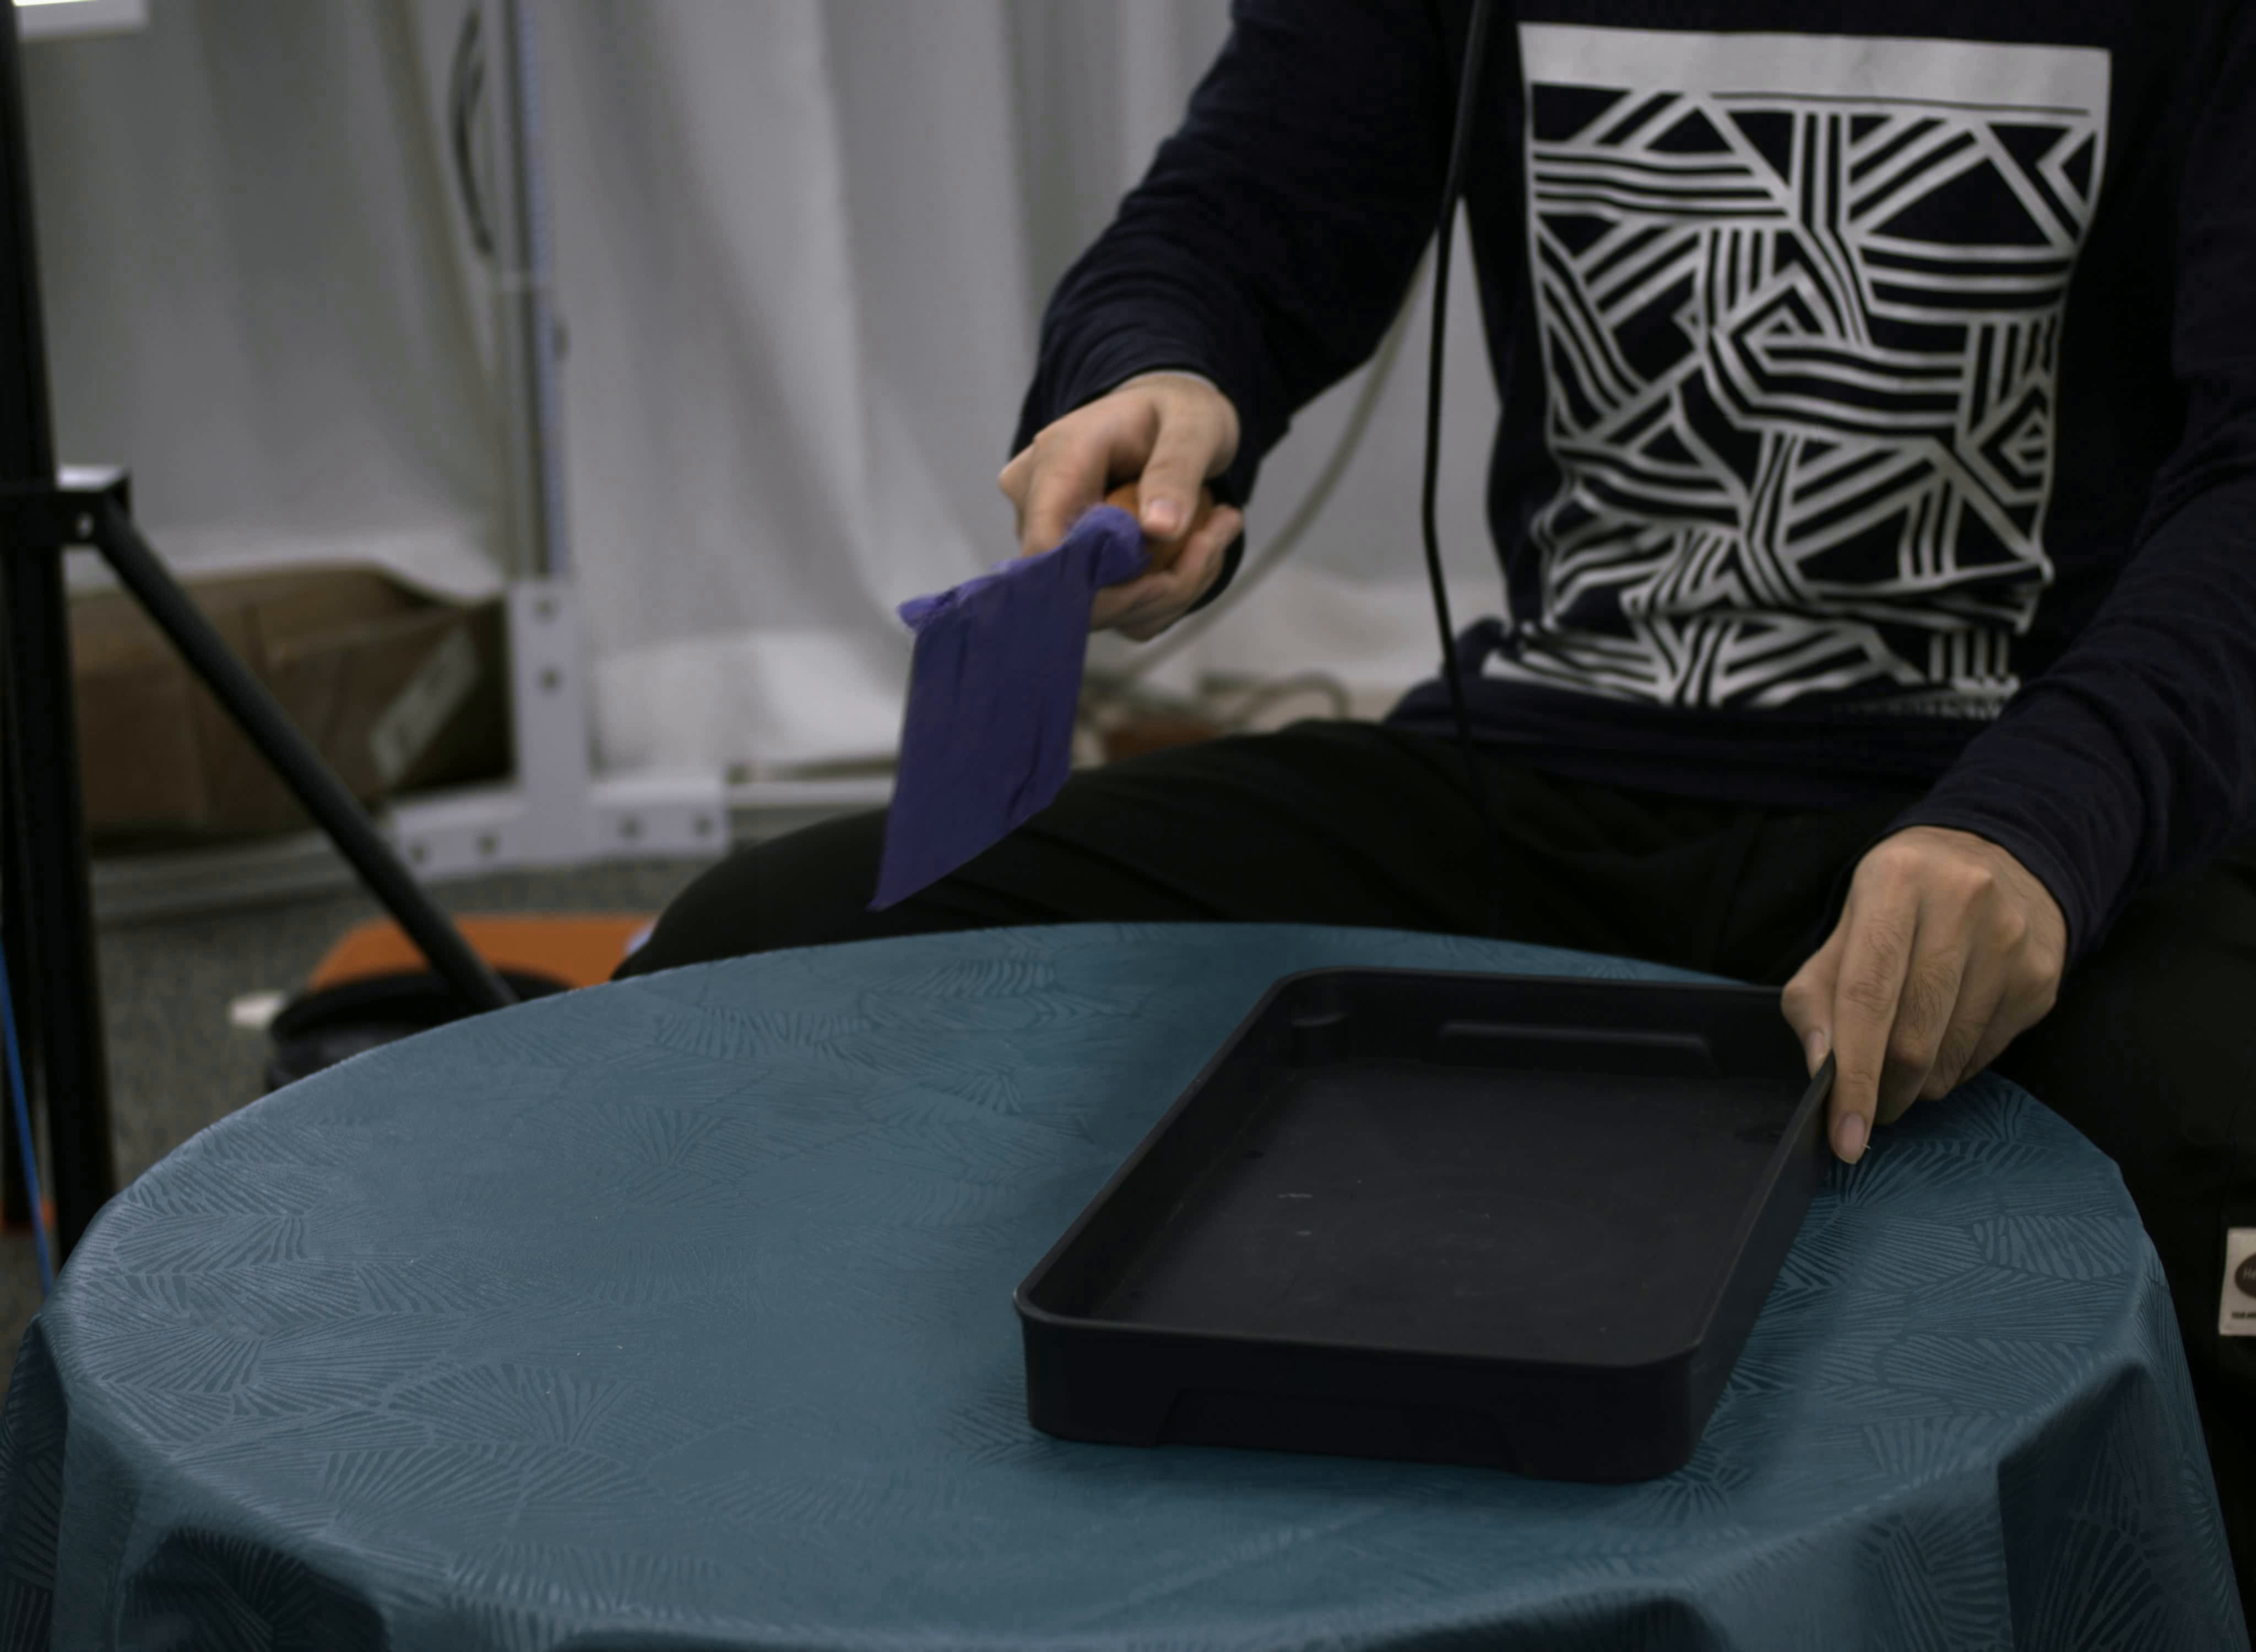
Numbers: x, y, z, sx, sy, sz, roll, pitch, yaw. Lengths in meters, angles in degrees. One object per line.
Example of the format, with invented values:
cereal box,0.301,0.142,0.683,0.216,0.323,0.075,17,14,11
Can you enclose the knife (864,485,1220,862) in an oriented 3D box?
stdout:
knife,-0.029,-0.050,1.662,0.032,0.104,0.311,13,12,14

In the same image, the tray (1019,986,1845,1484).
tray,0.094,0.108,1.488,0.186,0.037,0.315,1,15,15
